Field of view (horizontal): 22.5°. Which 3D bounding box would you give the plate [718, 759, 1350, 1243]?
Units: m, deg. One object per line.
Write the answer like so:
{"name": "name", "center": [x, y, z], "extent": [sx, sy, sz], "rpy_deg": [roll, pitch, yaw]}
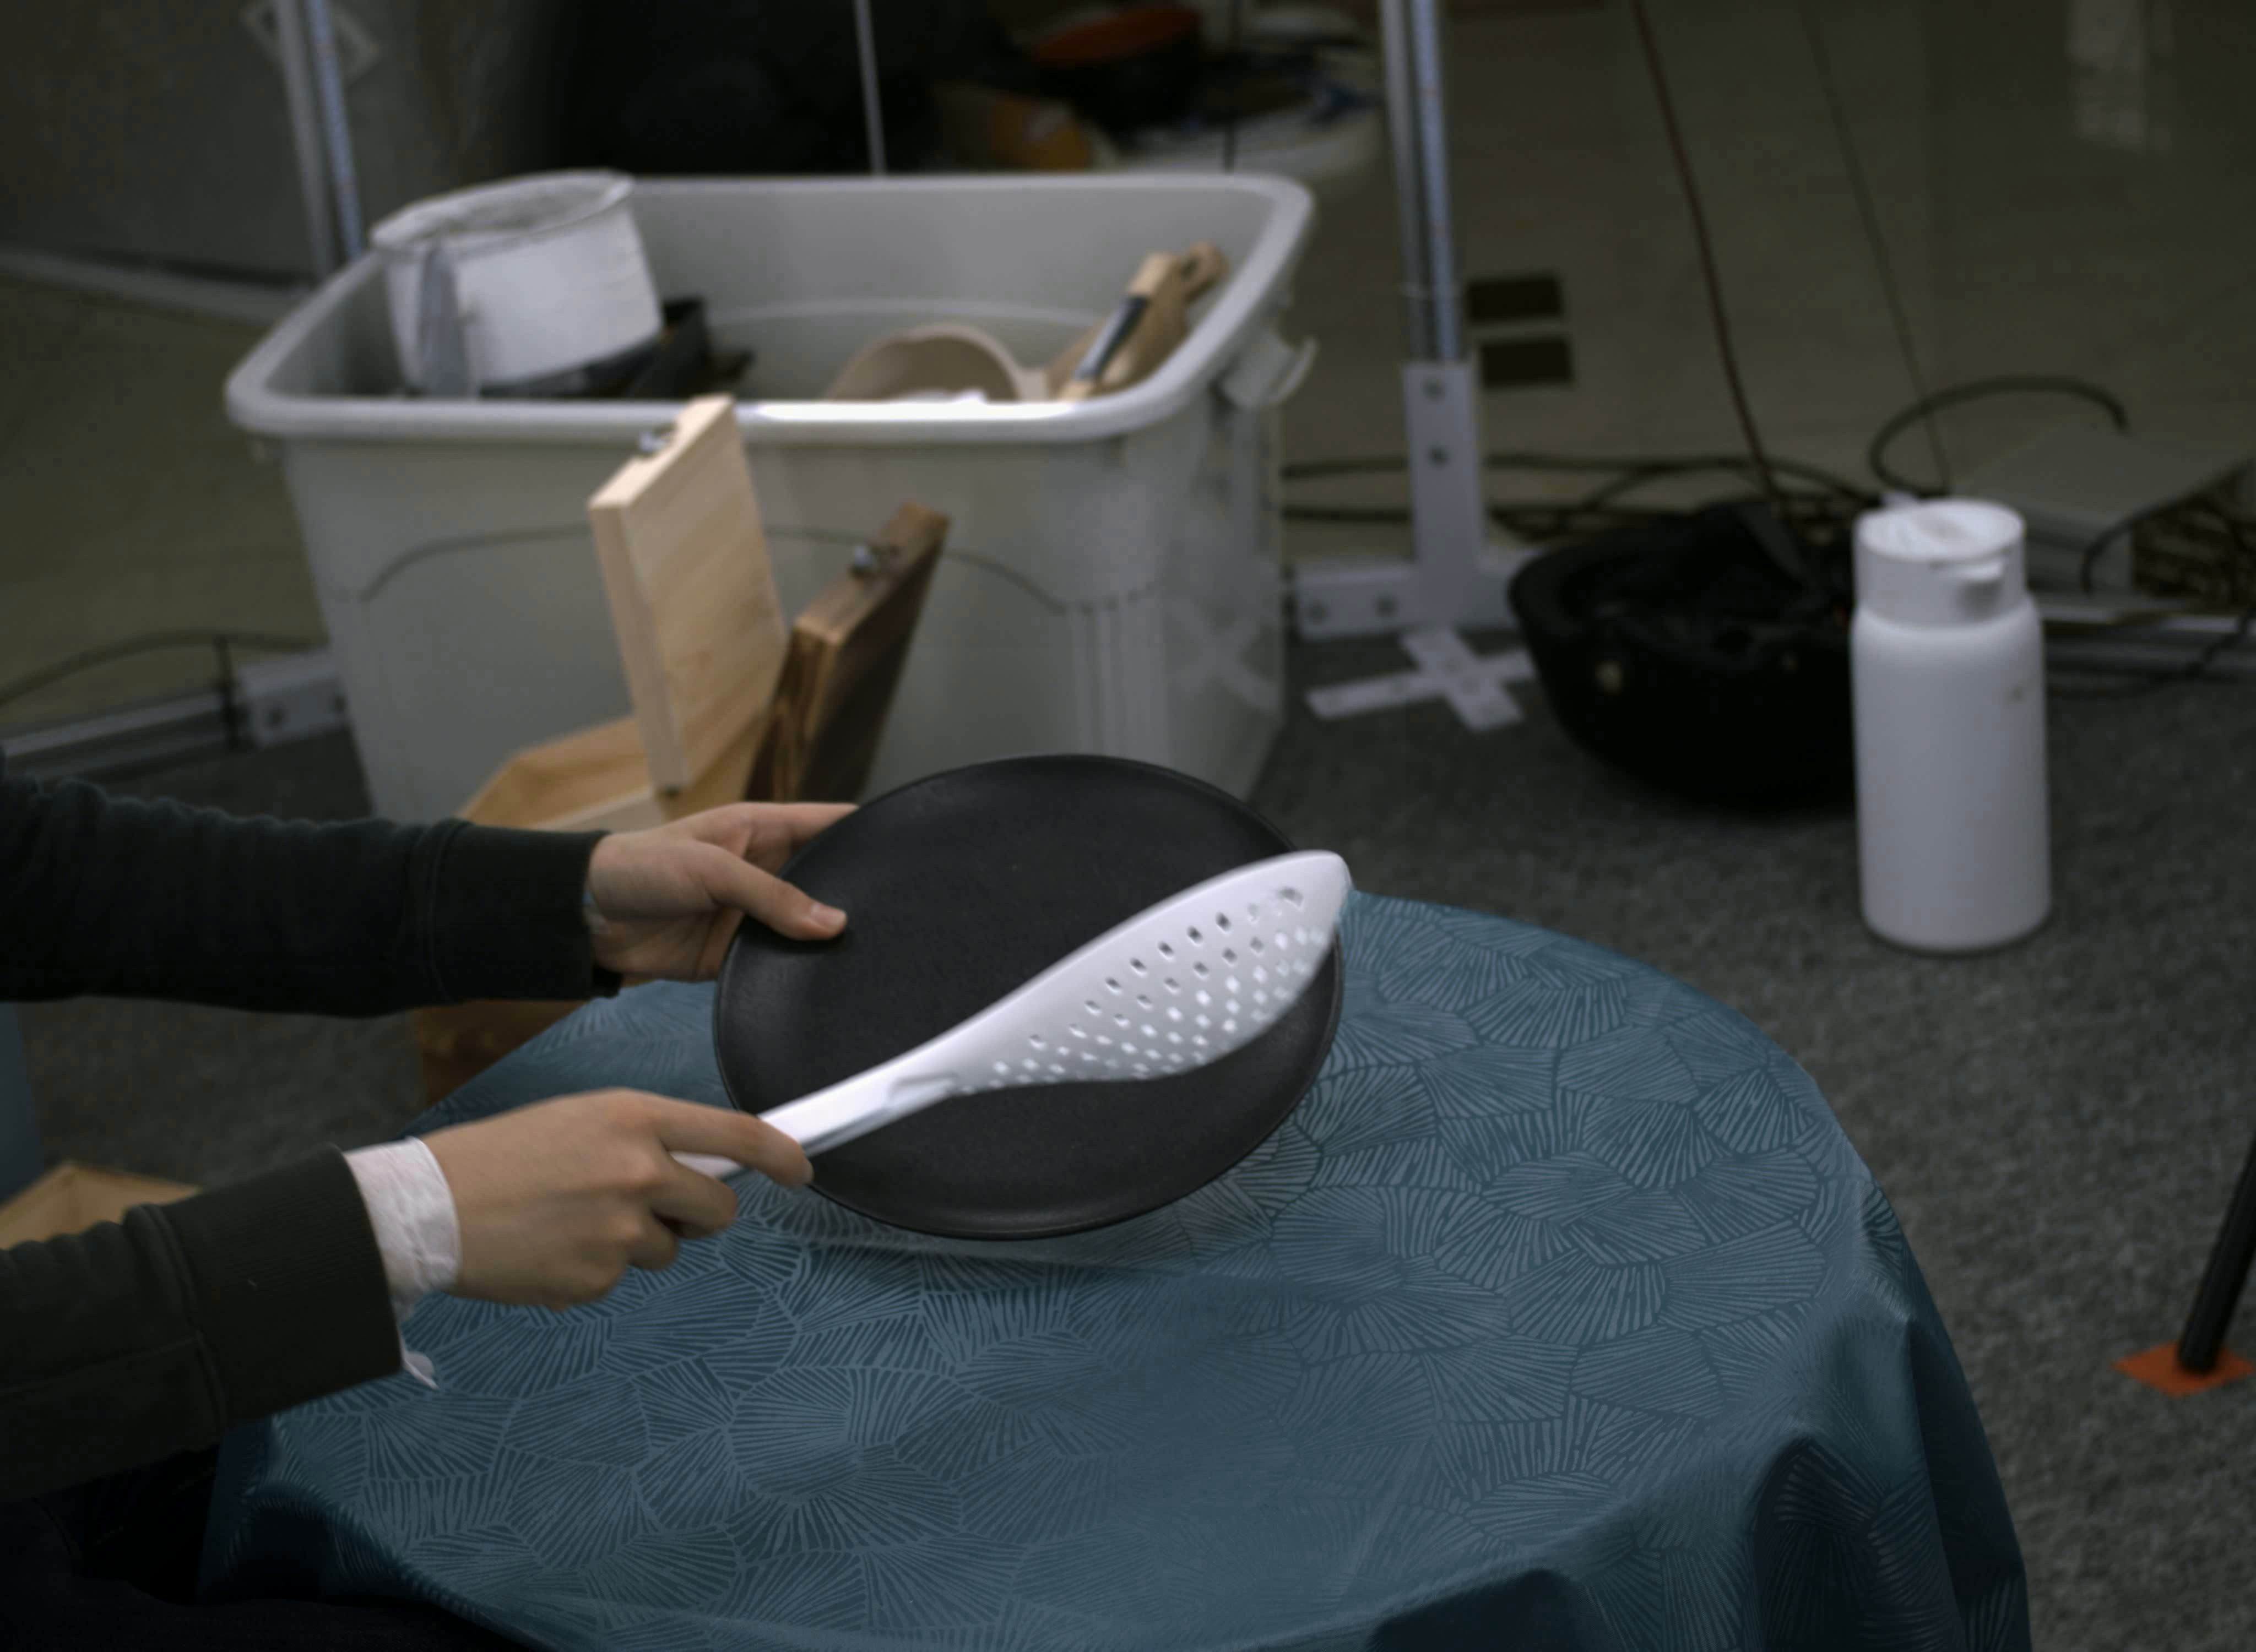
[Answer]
{"name": "plate", "center": [-0.035, 0.070, 2.174], "extent": [0.244, 0.024, 0.240], "rpy_deg": [-4, 48, 5]}

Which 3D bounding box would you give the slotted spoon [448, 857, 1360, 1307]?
{"name": "slotted spoon", "center": [-0.072, 0.091, 1.951], "extent": [0.348, 0.045, 0.137], "rpy_deg": [-17, -17, -16]}
